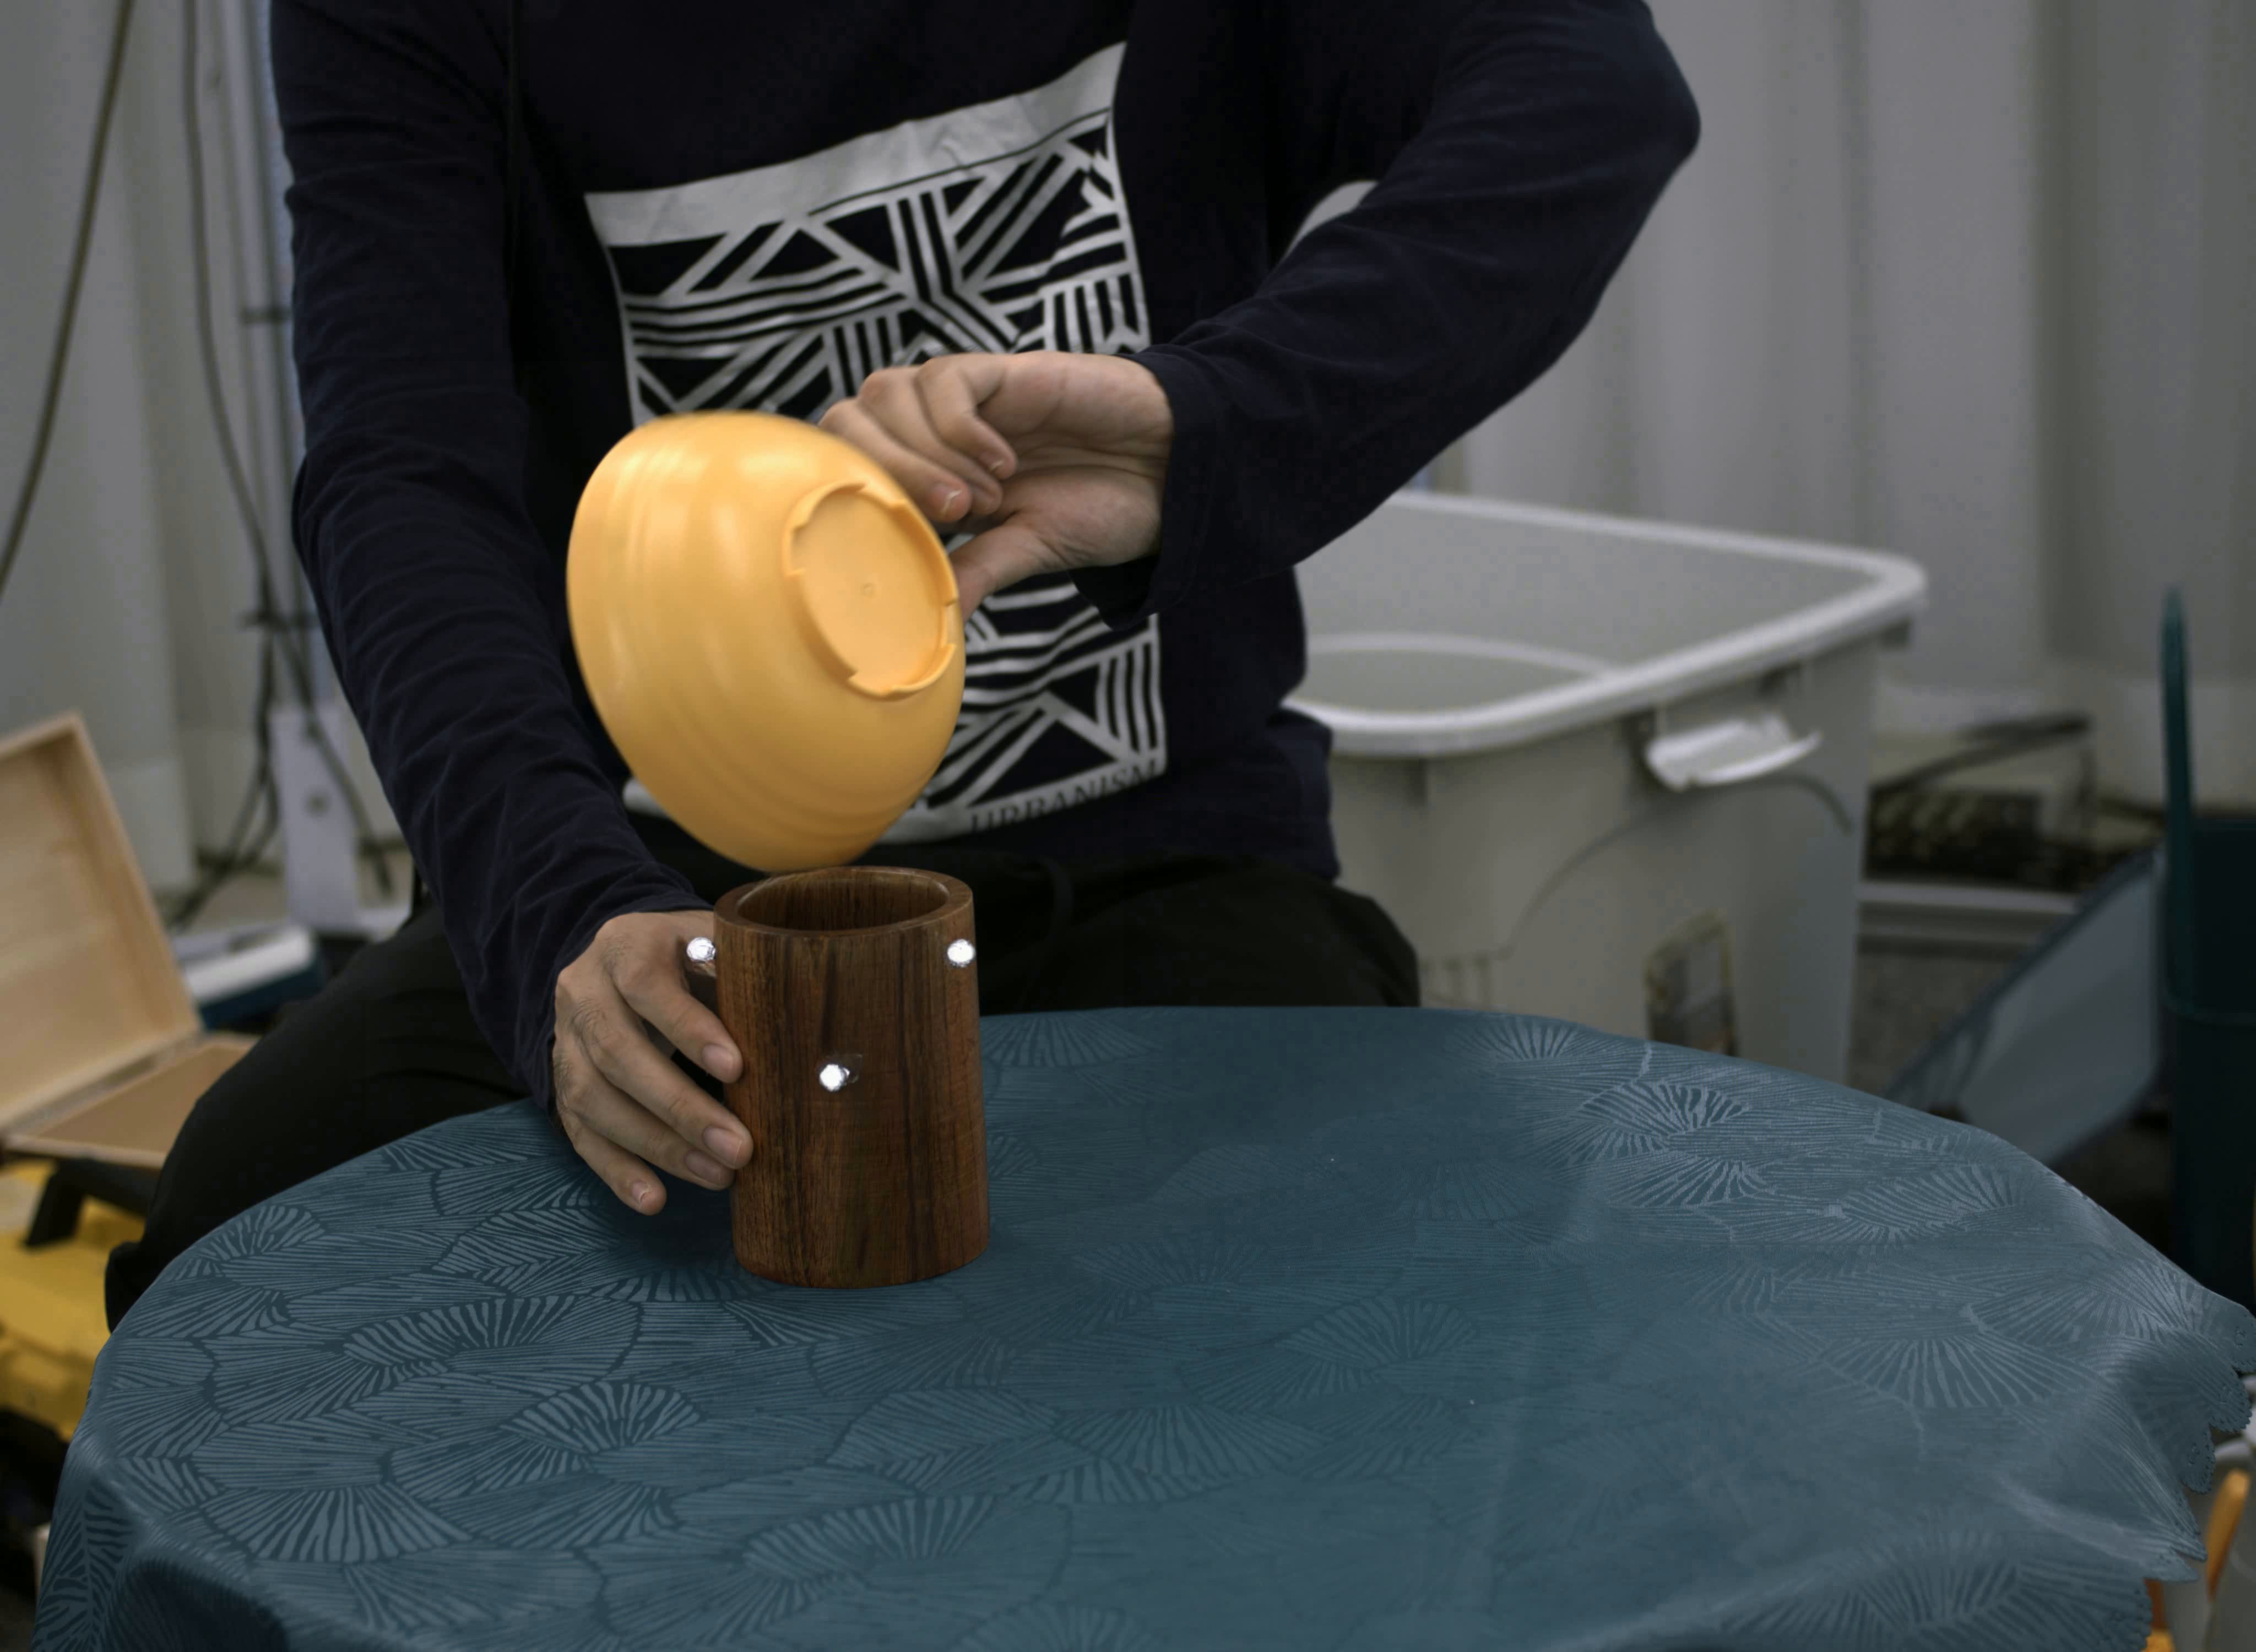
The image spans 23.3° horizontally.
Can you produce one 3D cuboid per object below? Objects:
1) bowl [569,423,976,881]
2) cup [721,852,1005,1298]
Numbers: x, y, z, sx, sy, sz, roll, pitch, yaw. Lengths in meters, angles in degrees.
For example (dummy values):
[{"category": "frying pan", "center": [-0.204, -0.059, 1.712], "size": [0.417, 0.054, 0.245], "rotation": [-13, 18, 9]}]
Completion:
[{"category": "bowl", "center": [-0.093, -0.061, 1.629], "size": [0.060, 0.146, 0.145], "rotation": [-27, -5, 42]}, {"category": "cup", "center": [-0.081, 0.074, 1.656], "size": [0.087, 0.118, 0.088], "rotation": [1, 13, 0]}]
